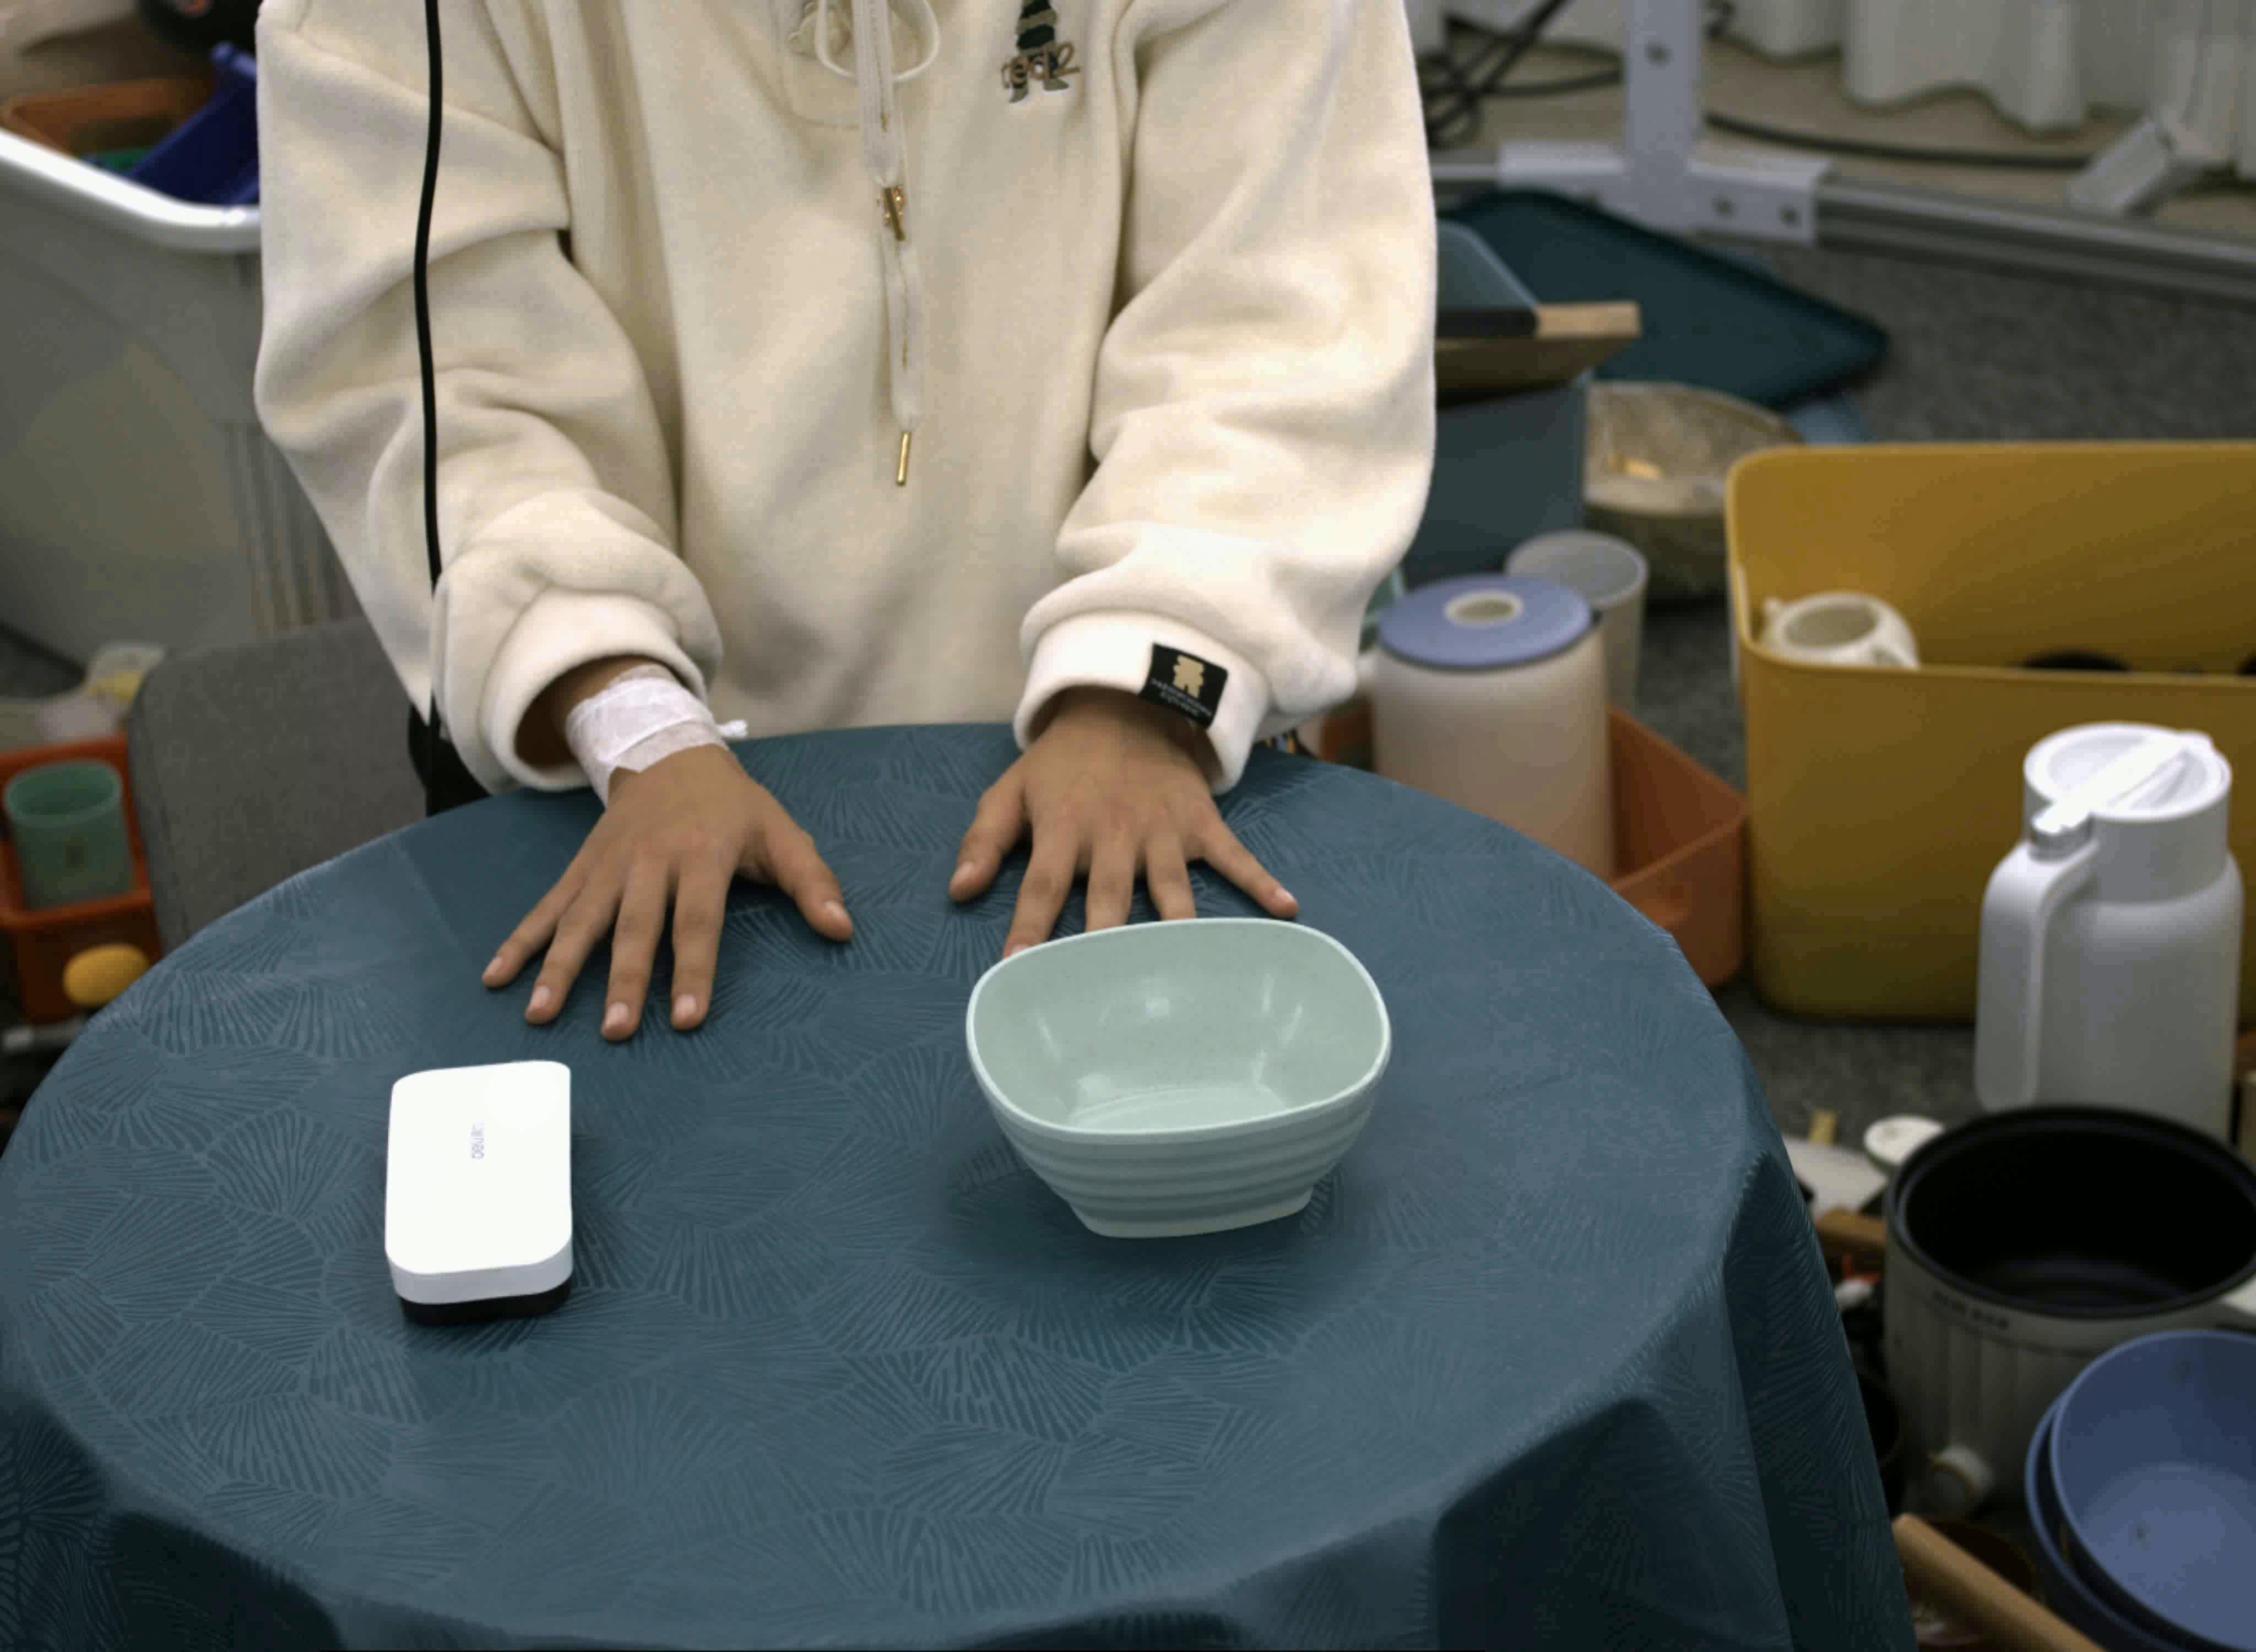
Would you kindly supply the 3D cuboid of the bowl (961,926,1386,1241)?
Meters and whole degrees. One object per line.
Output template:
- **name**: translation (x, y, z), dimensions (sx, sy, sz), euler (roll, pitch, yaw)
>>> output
- **bowl**: translation (0.015, 0.091, 1.860), dimensions (0.151, 0.058, 0.154), euler (0, 26, 1)

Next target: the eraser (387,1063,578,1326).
- **eraser**: translation (-0.212, 0.118, 1.856), dimensions (0.063, 0.034, 0.133), euler (-5, 28, -3)
